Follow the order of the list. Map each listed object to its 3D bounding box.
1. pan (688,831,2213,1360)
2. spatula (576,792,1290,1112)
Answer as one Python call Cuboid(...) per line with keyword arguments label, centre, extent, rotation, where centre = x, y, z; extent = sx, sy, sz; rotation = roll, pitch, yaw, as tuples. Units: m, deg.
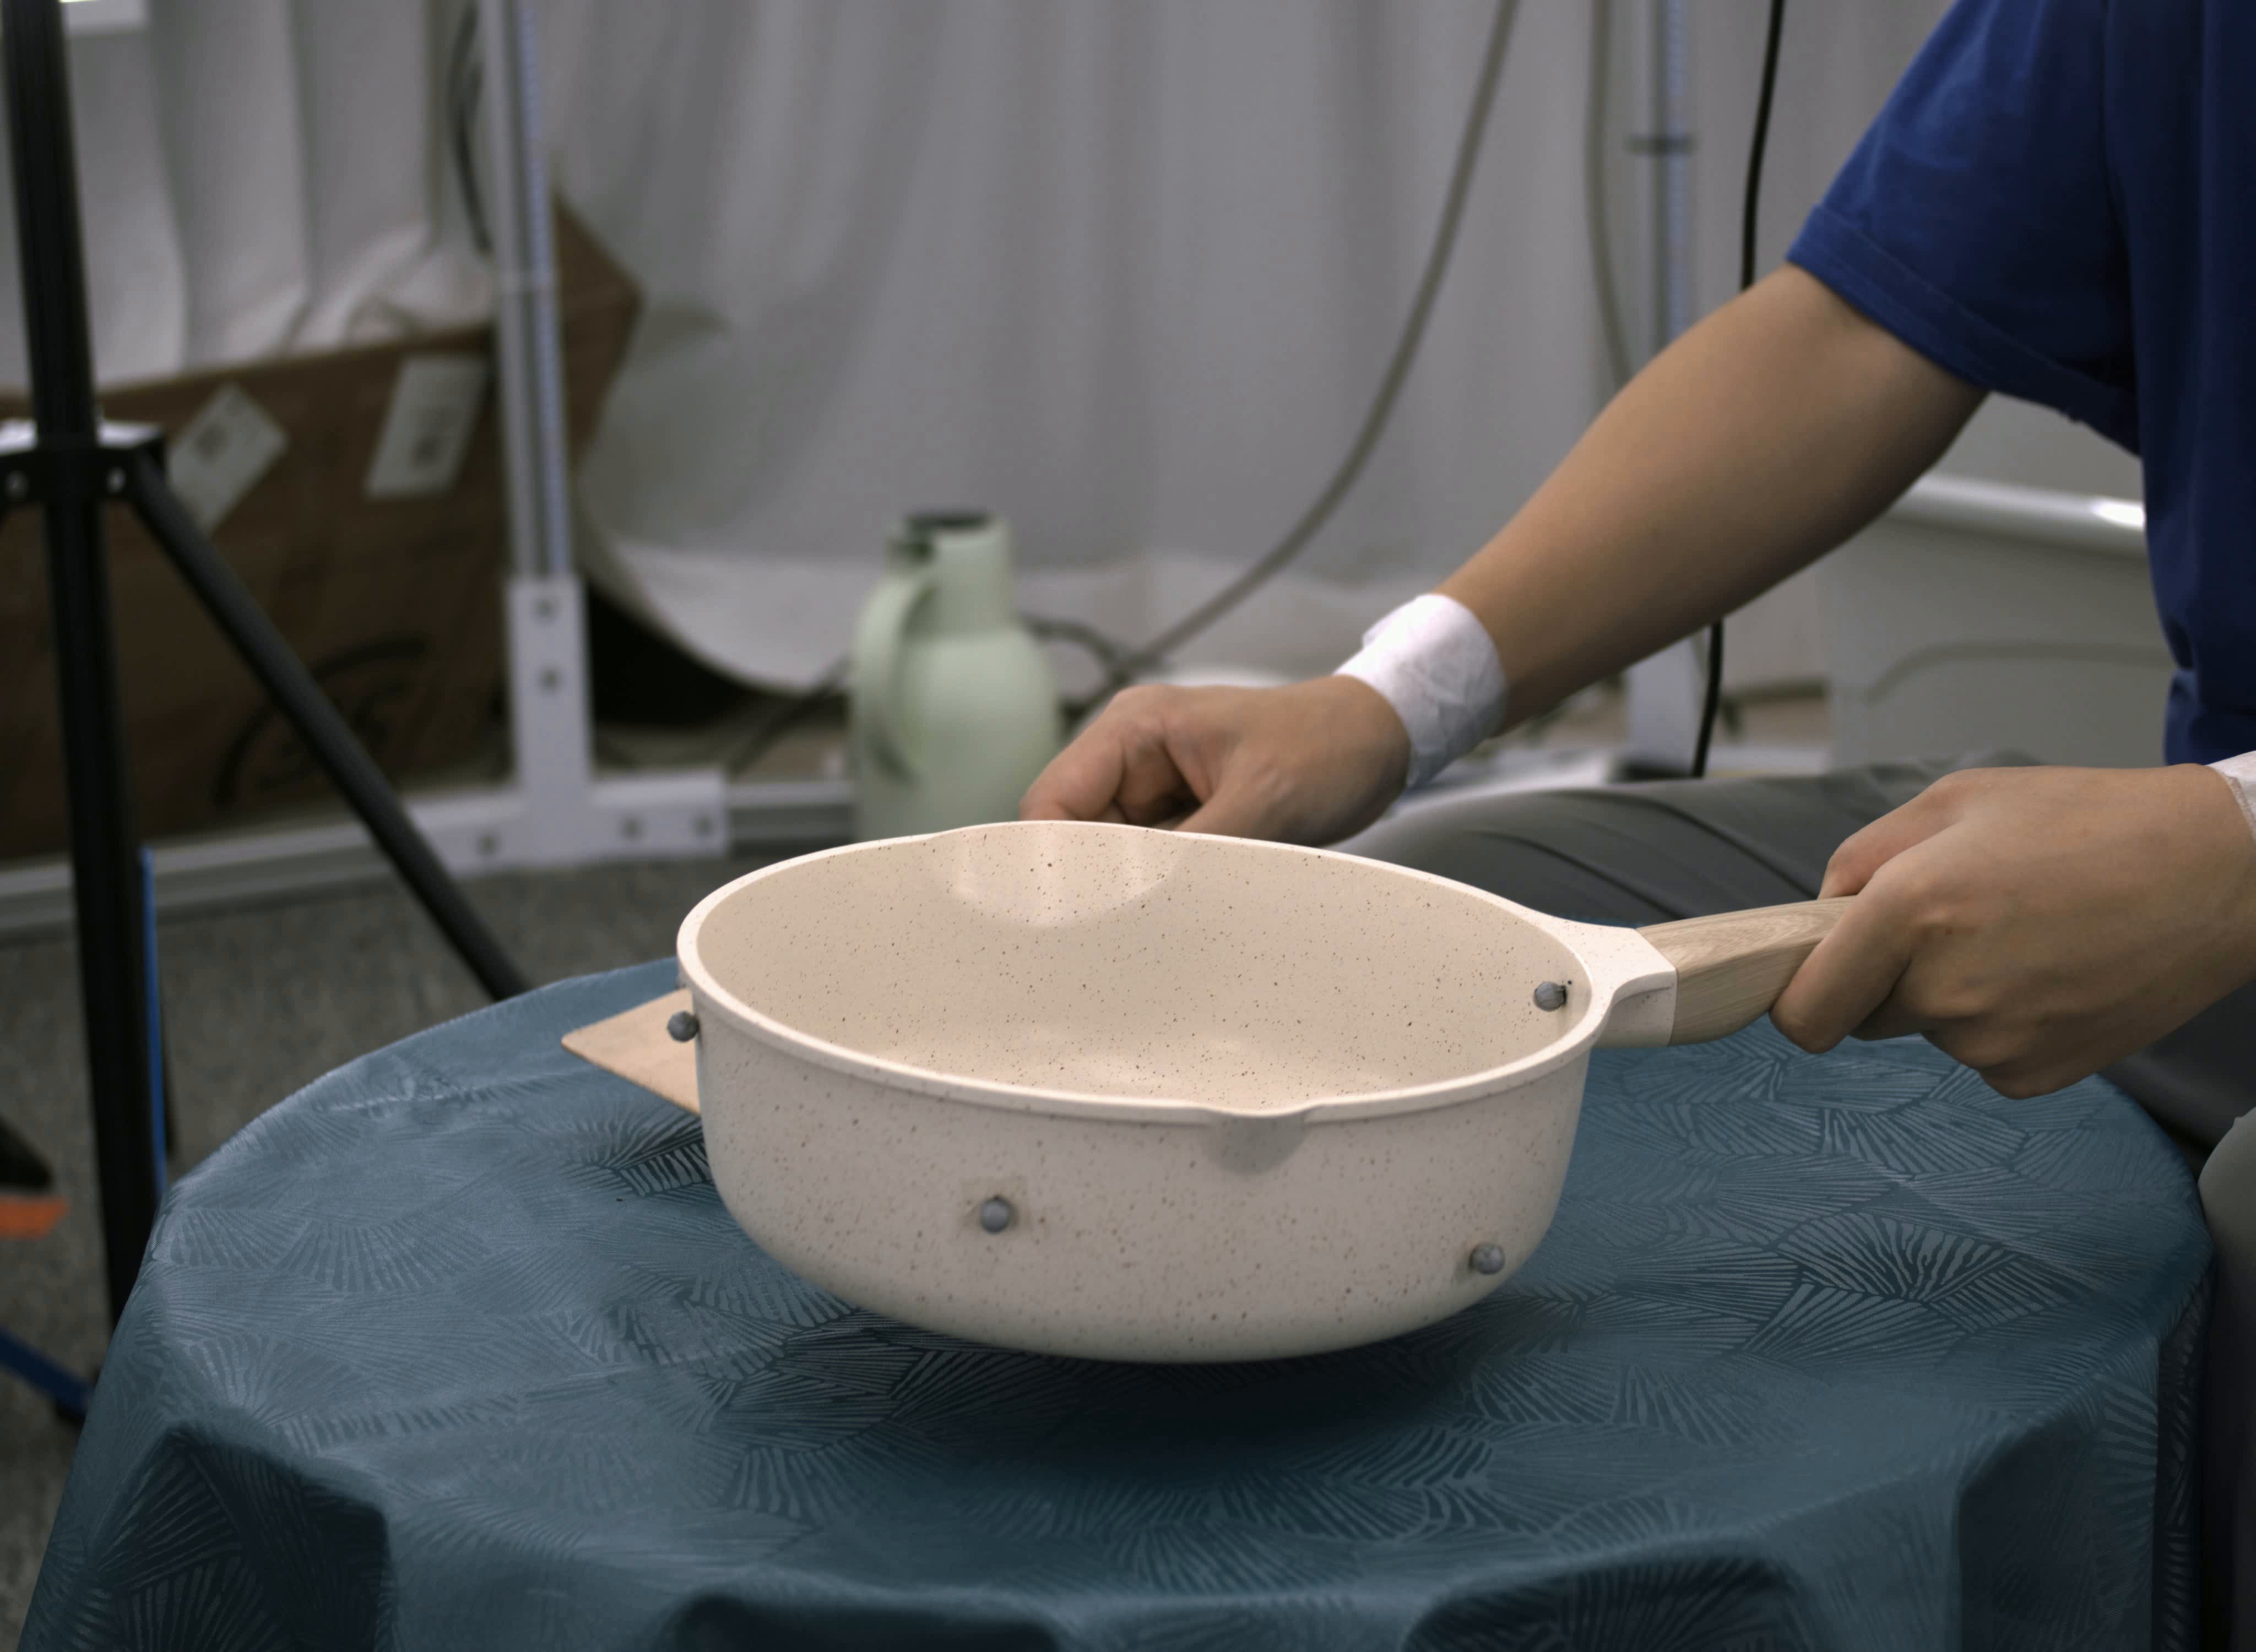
Cuboid(label="pan", centre=(0.094, 0.065, 1.442), extent=(0.428, 0.102, 0.267), rotation=(0, 14, -13))
Cuboid(label="spatula", centre=(-0.049, 0.034, 1.690), extent=(0.074, 0.010, 0.287), rotation=(21, 31, 38))
